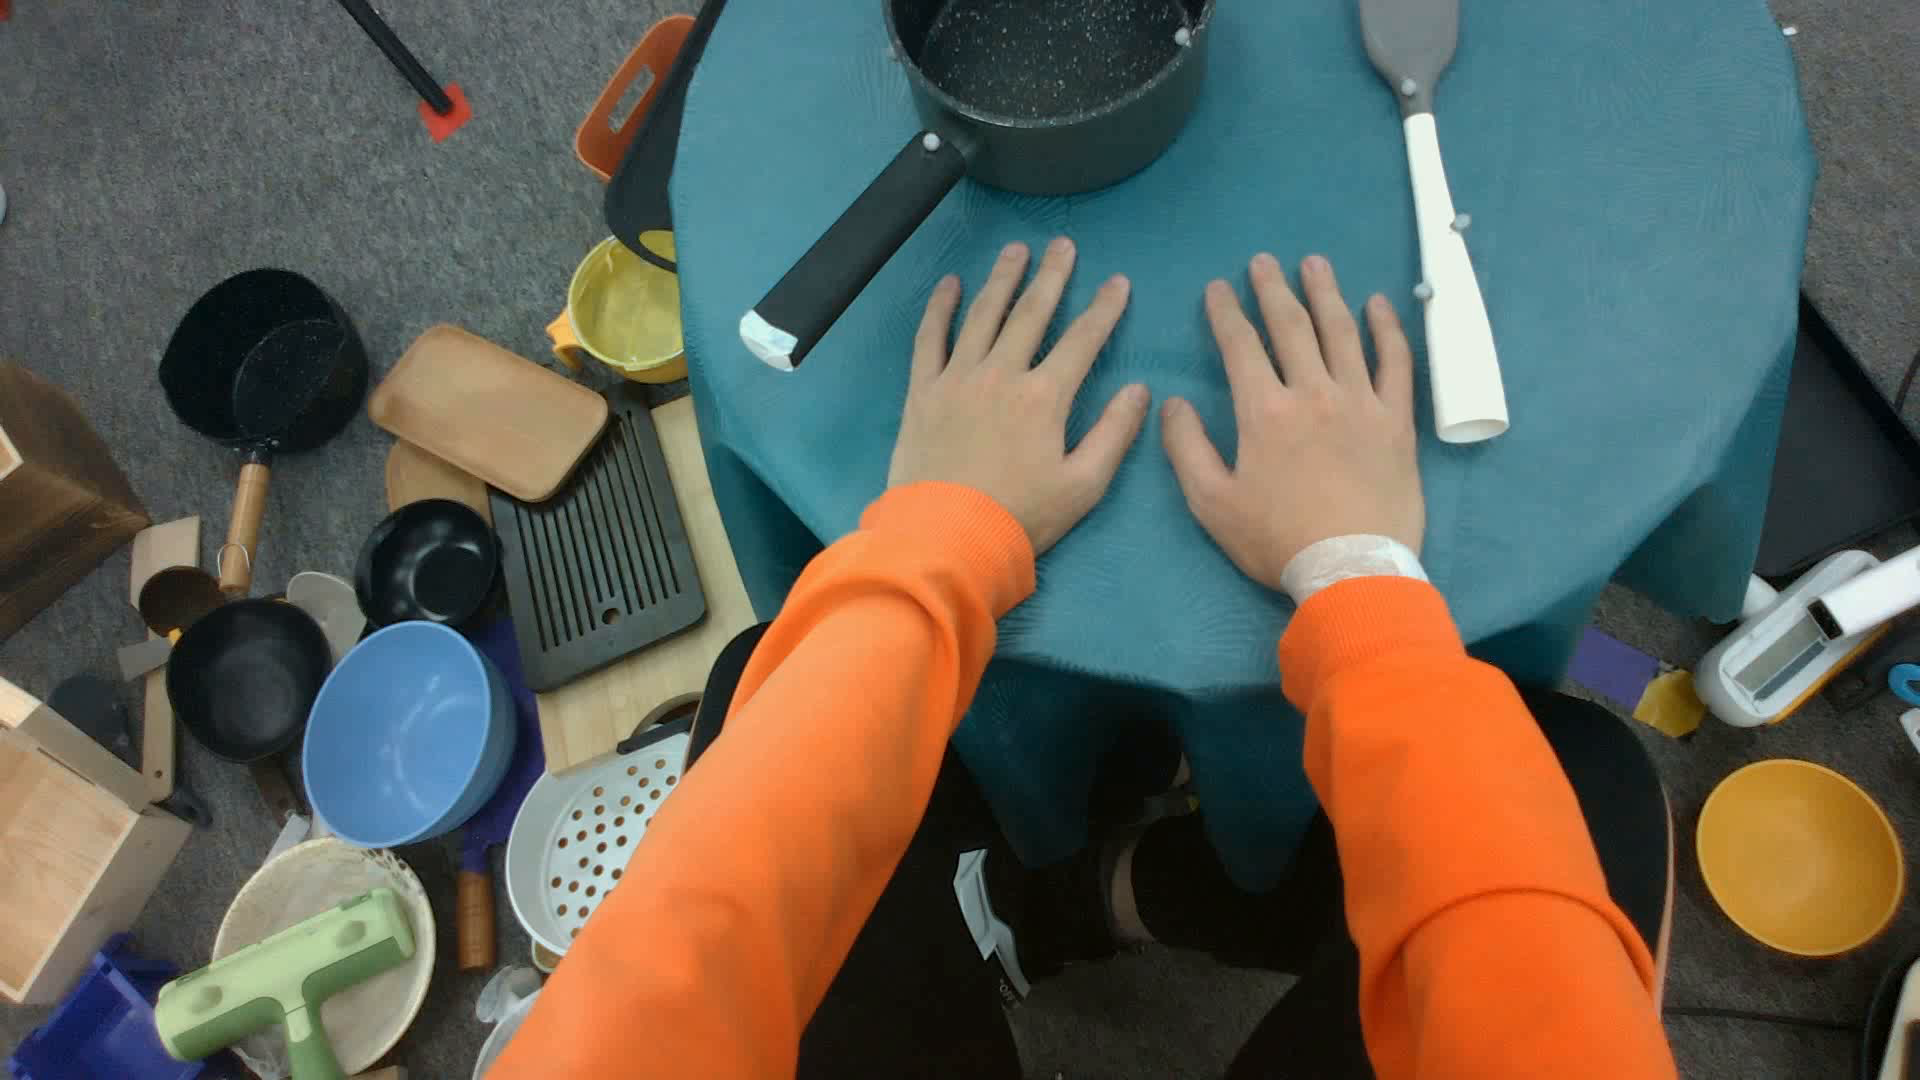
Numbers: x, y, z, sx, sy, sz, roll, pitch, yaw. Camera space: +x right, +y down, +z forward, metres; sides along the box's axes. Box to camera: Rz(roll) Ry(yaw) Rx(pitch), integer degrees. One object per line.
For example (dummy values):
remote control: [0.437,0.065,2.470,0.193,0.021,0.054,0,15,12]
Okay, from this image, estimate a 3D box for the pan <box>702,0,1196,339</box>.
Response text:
pan: [-0.008,-0.219,0.715,0.172,0.086,0.329,34,78,17]

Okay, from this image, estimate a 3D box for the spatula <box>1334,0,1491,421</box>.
spatula: [0.233,-0.199,0.706,0.058,0.032,0.288,-5,72,9]
